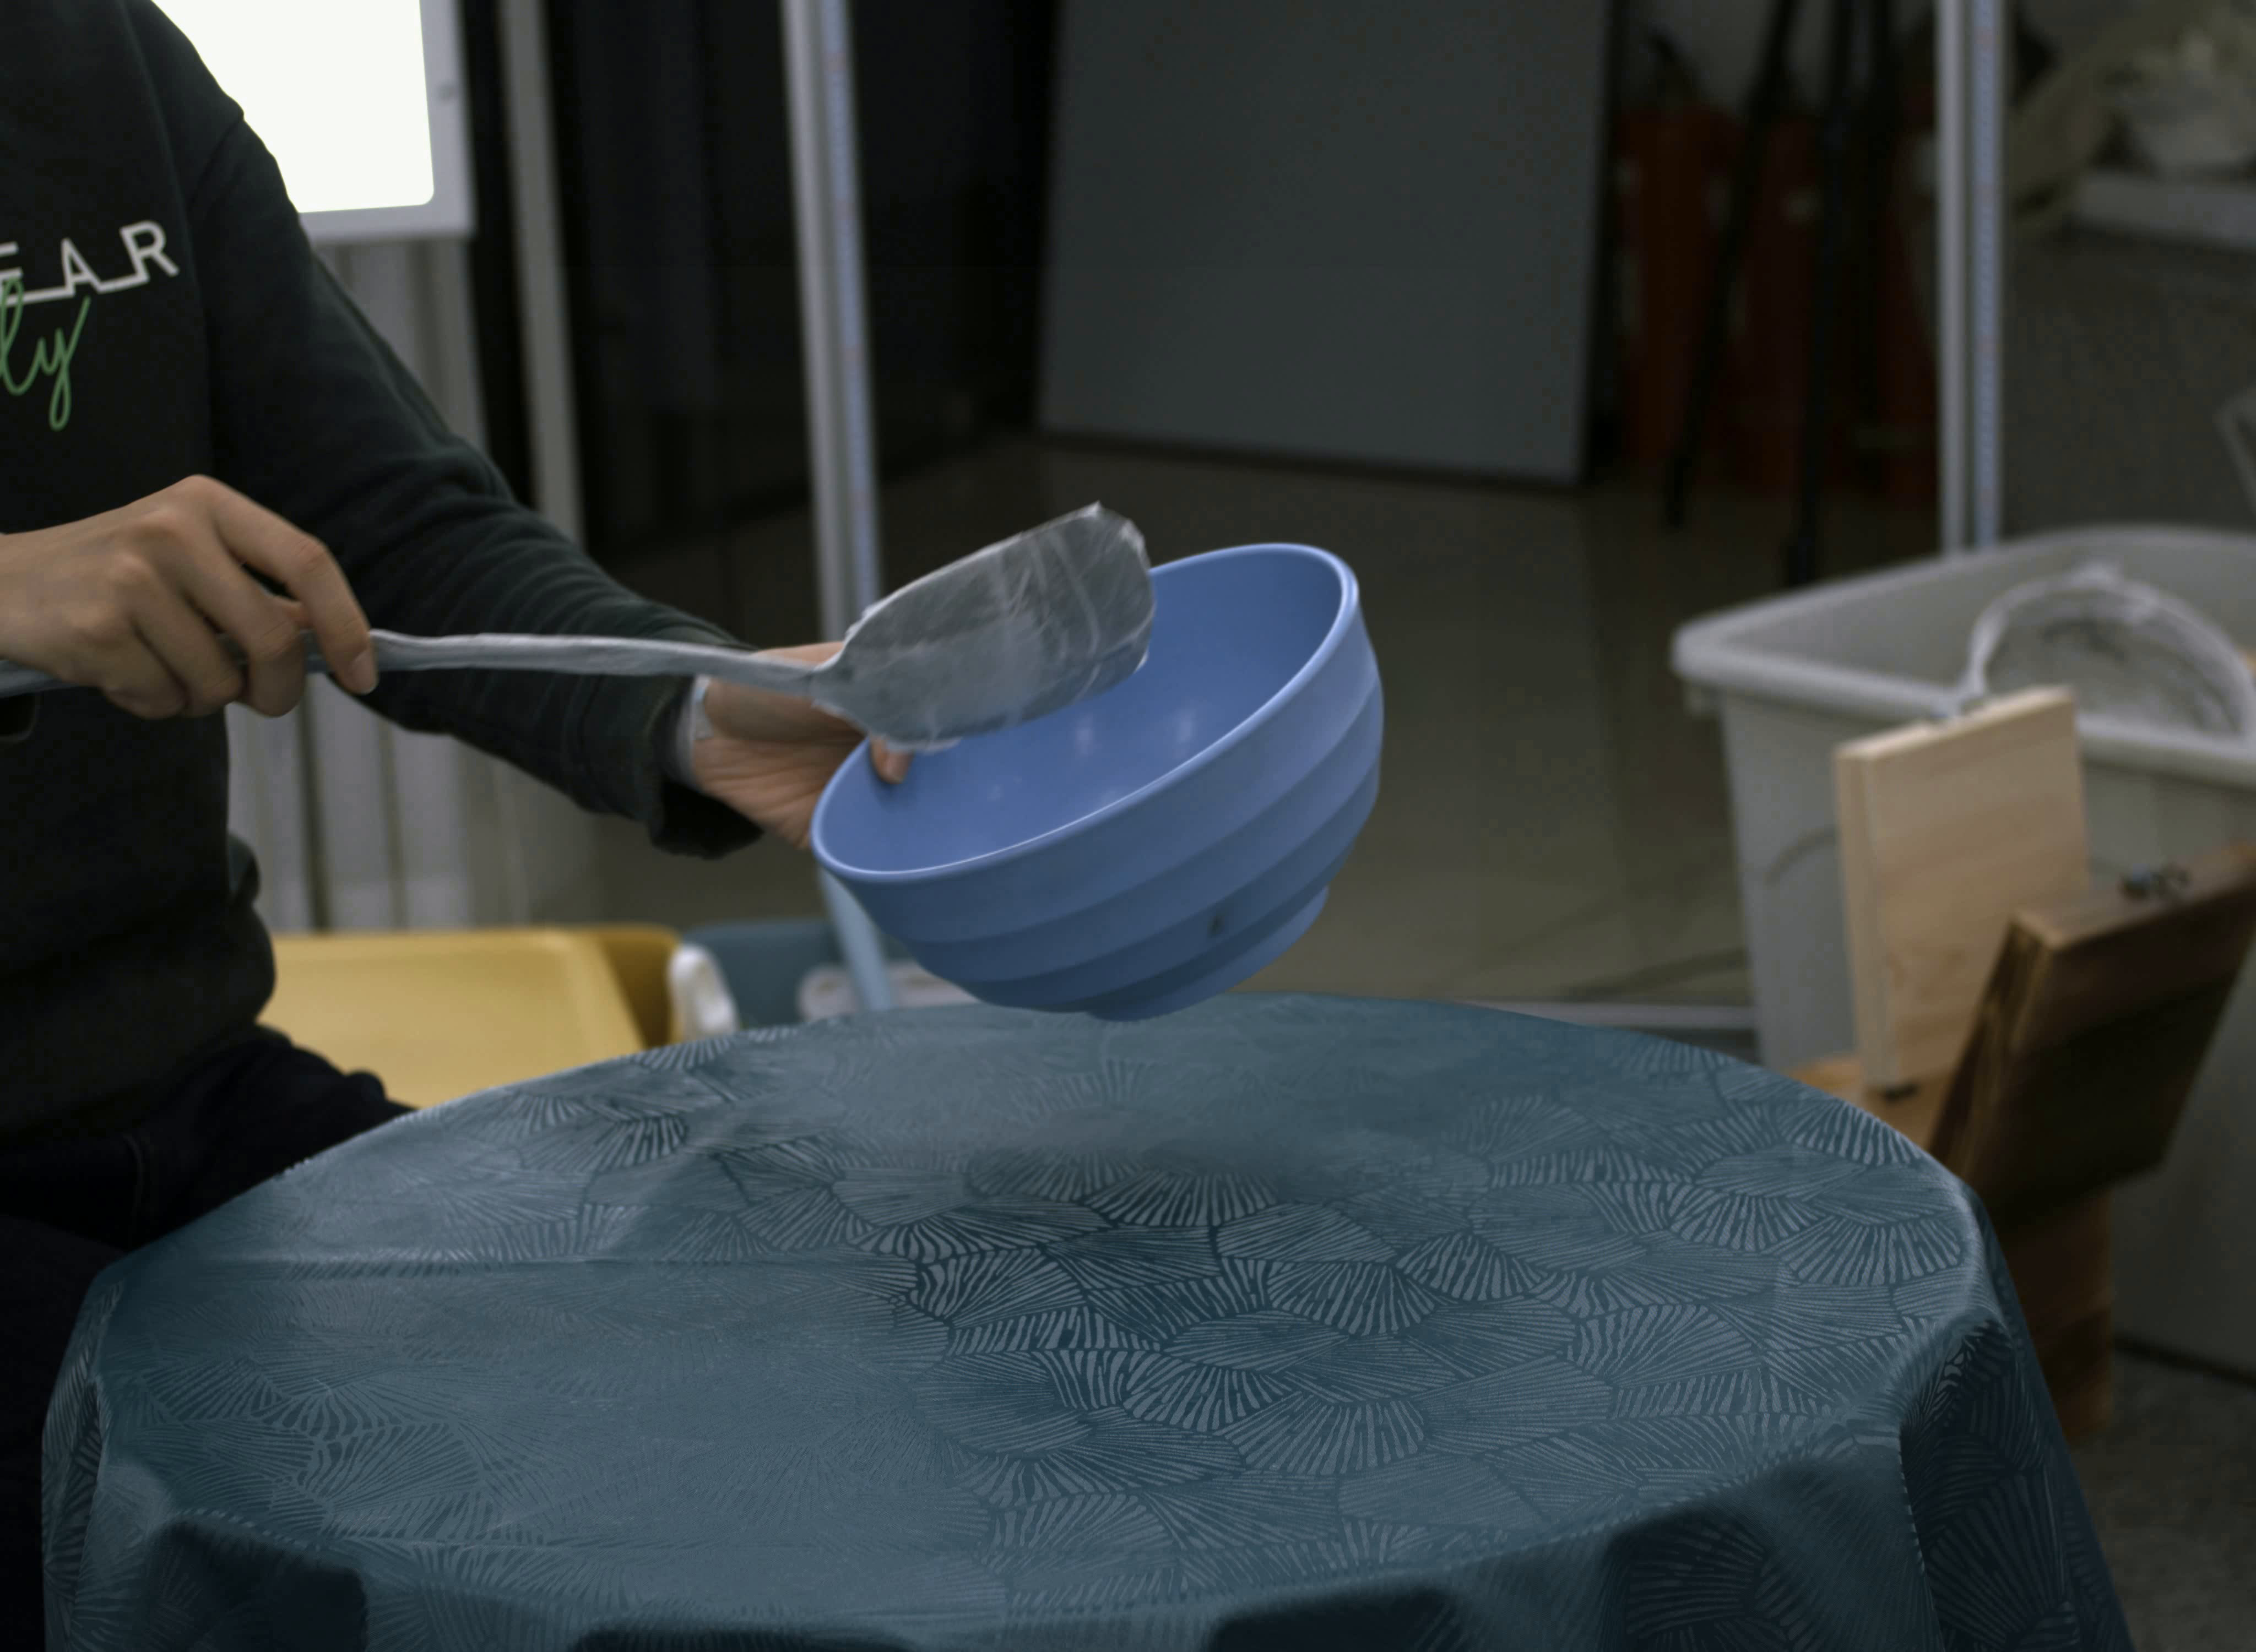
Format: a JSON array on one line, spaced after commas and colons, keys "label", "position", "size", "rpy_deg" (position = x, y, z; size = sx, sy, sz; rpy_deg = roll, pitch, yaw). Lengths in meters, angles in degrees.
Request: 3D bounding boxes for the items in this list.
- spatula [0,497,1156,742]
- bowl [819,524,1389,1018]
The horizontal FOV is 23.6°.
[{"label": "spatula", "position": [-0.172, -0.054, 1.651], "size": [0.361, 0.045, 0.098], "rpy_deg": [0, -31, 7]}, {"label": "bowl", "position": [0.006, -0.003, 1.743], "size": [0.196, 0.095, 0.197], "rpy_deg": [-25, 22, 10]}]
